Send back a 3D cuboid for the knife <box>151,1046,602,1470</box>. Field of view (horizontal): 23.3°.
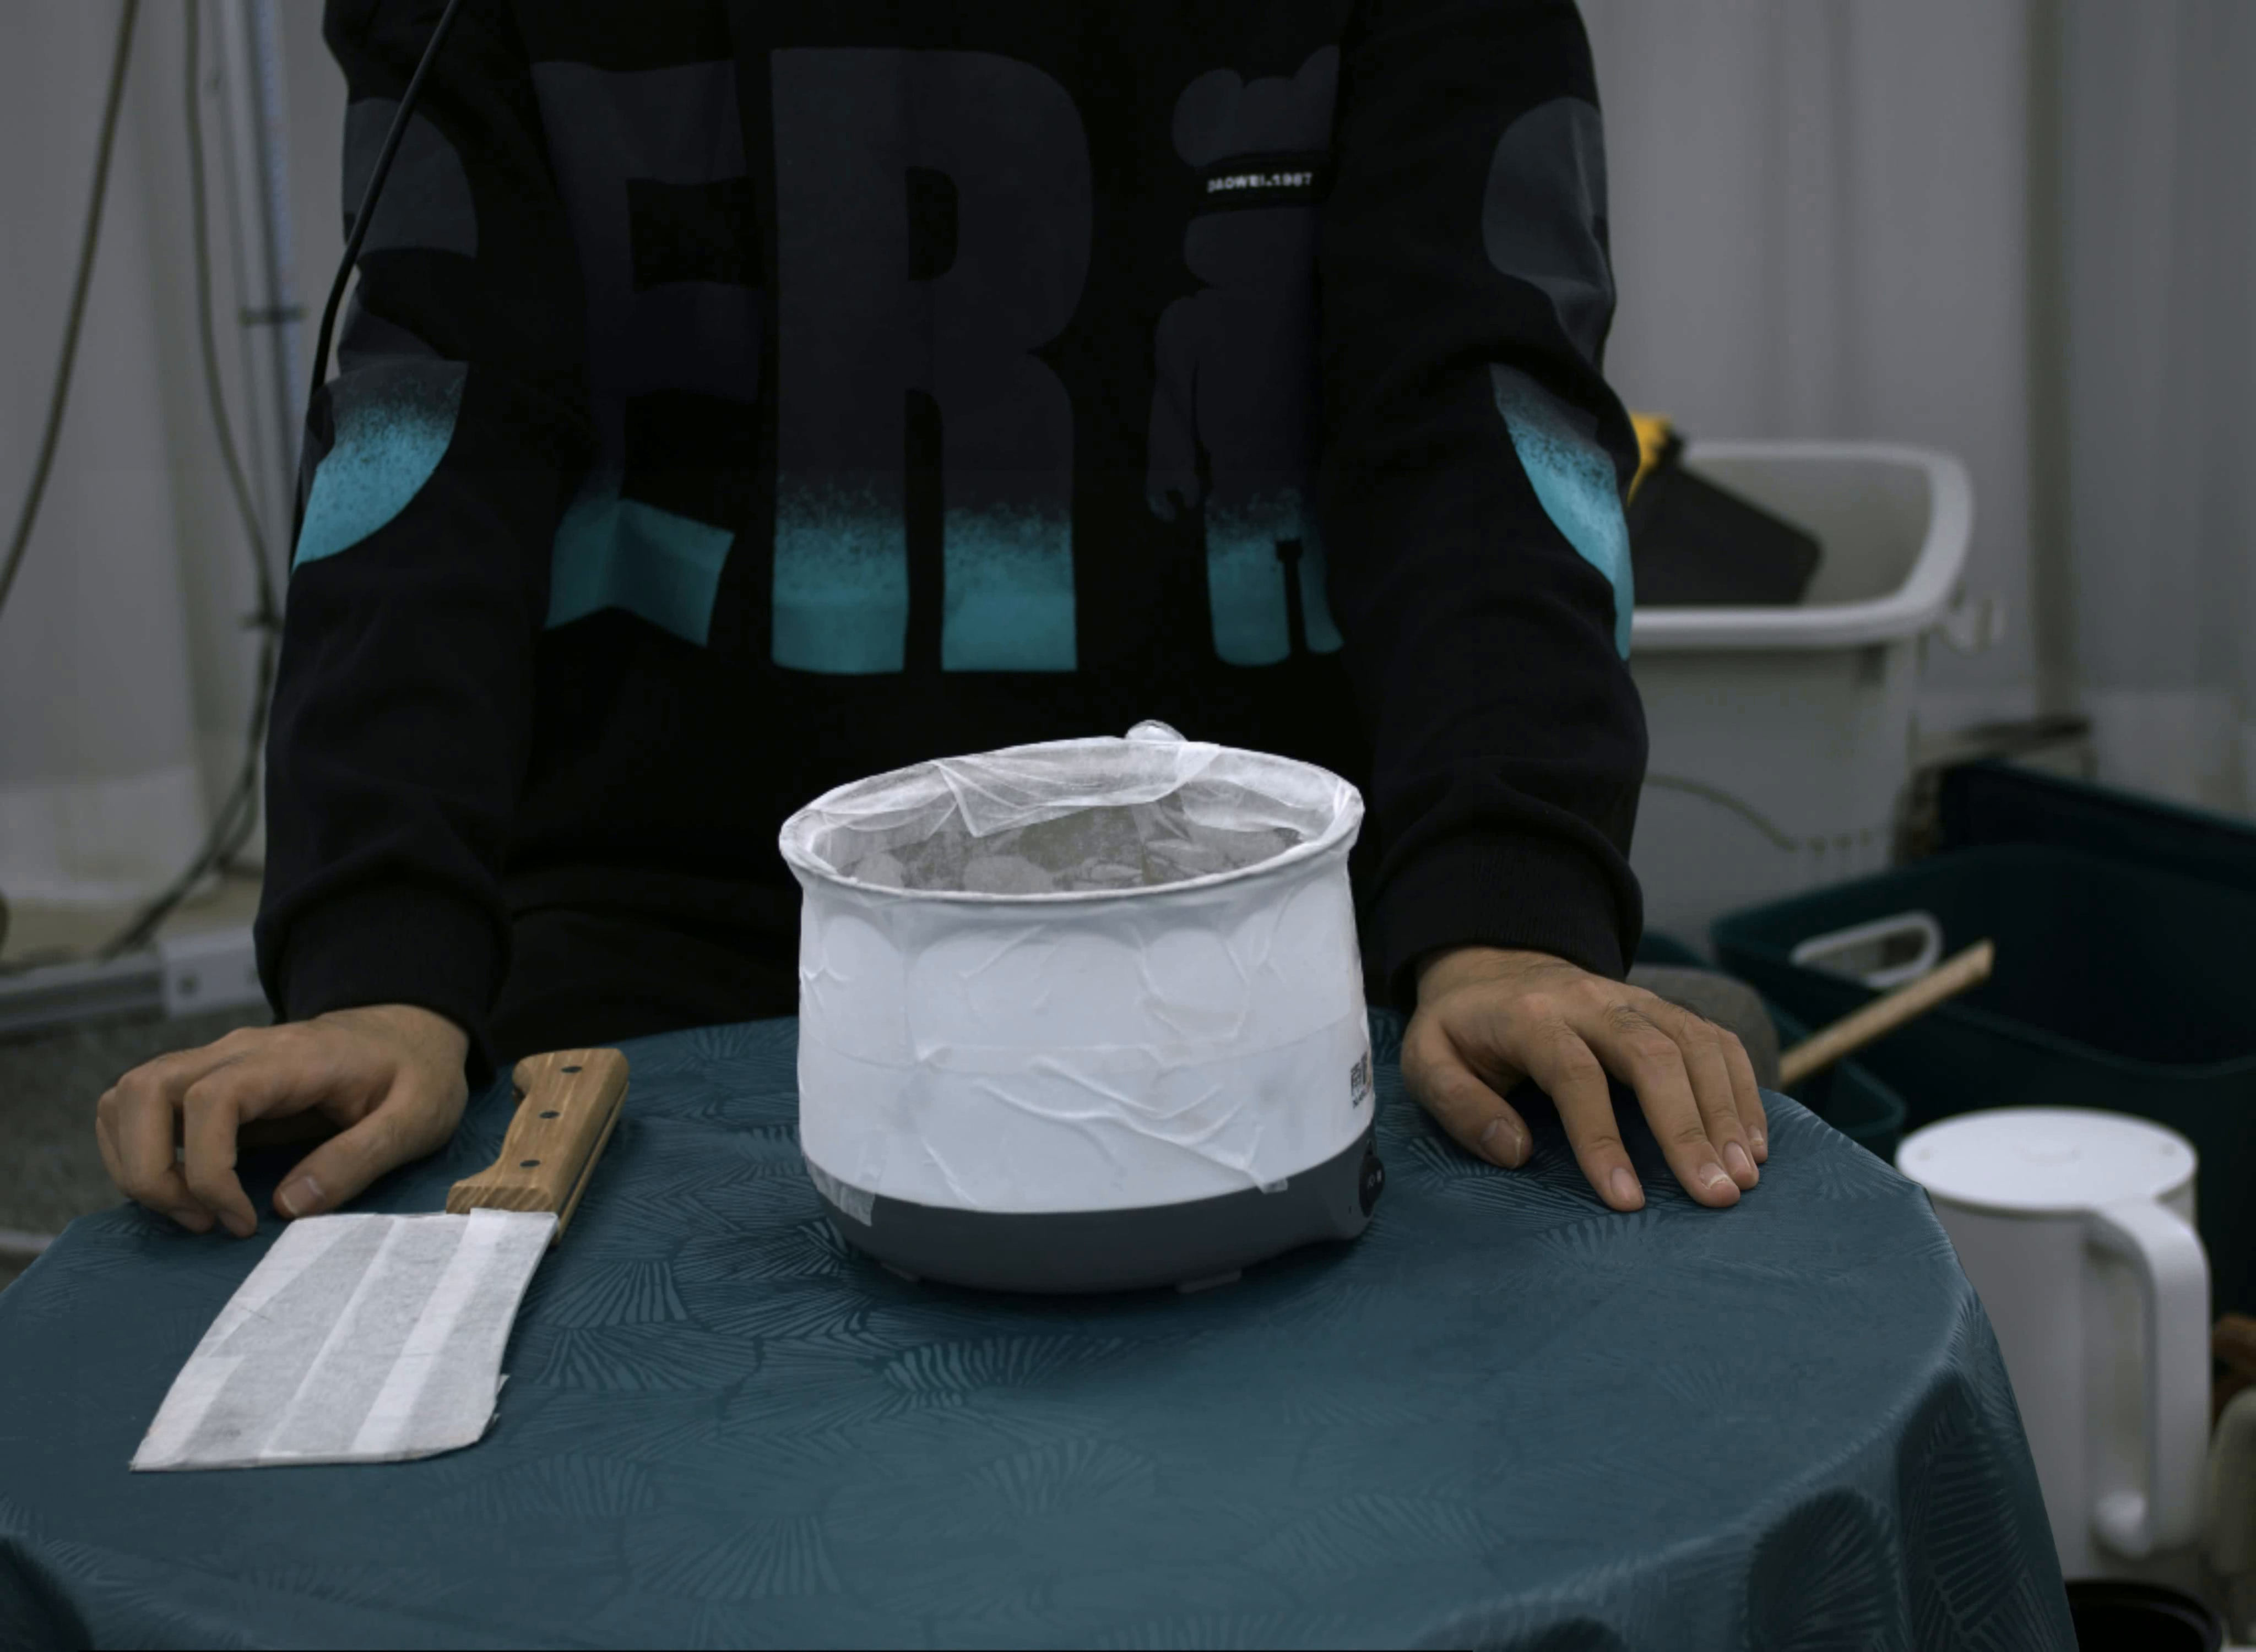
[{"bbox_3d":[-0.210,0.131,1.664,0.114,0.021,0.317,-1,18,10],"label":"knife"}]

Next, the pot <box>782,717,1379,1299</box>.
[{"bbox_3d":[-0.007,0.051,1.692,0.178,0.136,0.235,1,16,13],"label":"pot"}]
